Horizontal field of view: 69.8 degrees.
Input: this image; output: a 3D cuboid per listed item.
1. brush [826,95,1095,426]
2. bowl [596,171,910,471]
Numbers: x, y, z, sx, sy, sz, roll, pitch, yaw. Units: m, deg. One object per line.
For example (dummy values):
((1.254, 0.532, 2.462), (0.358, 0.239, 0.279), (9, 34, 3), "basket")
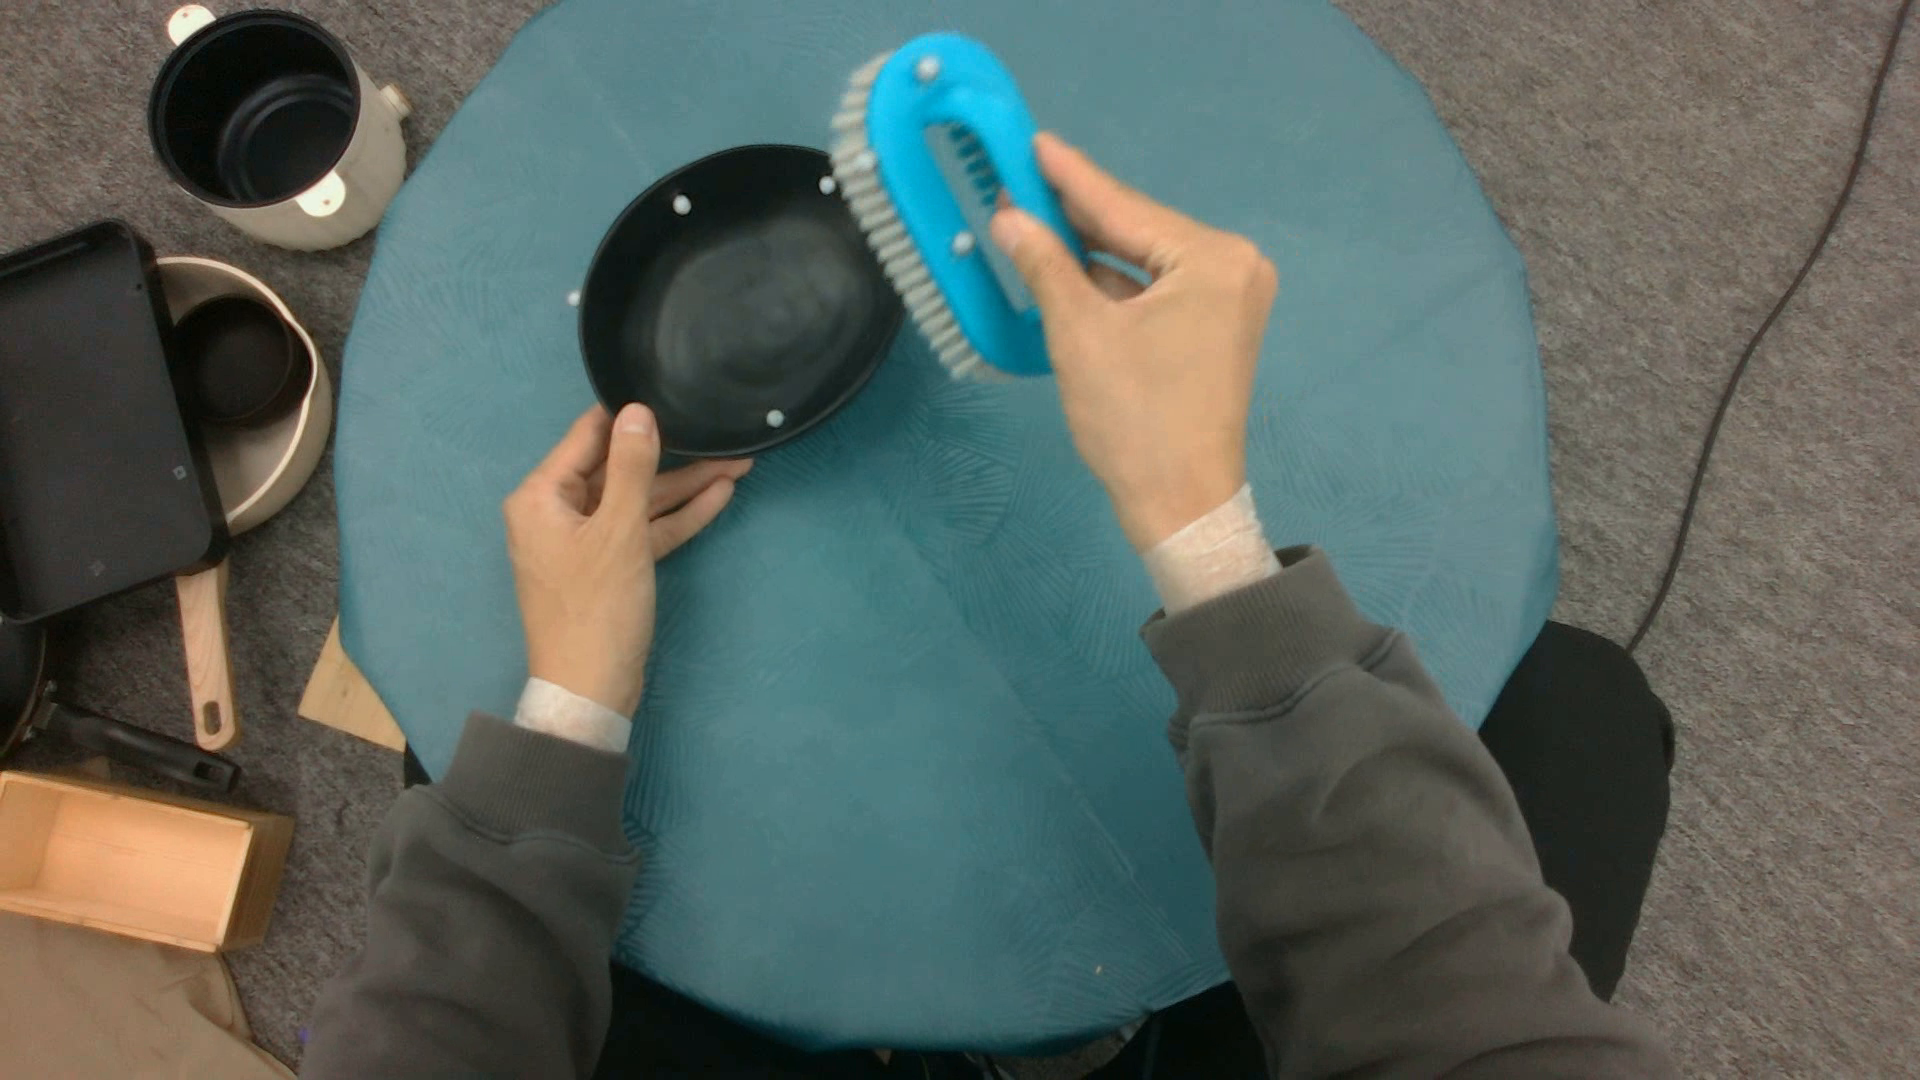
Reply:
((0.011, -0.117, 0.560), (0.085, 0.063, 0.141), (-39, 107, -30), "brush")
((-0.093, -0.103, 0.676), (0.170, 0.066, 0.137), (-44, 82, -8), "bowl")
